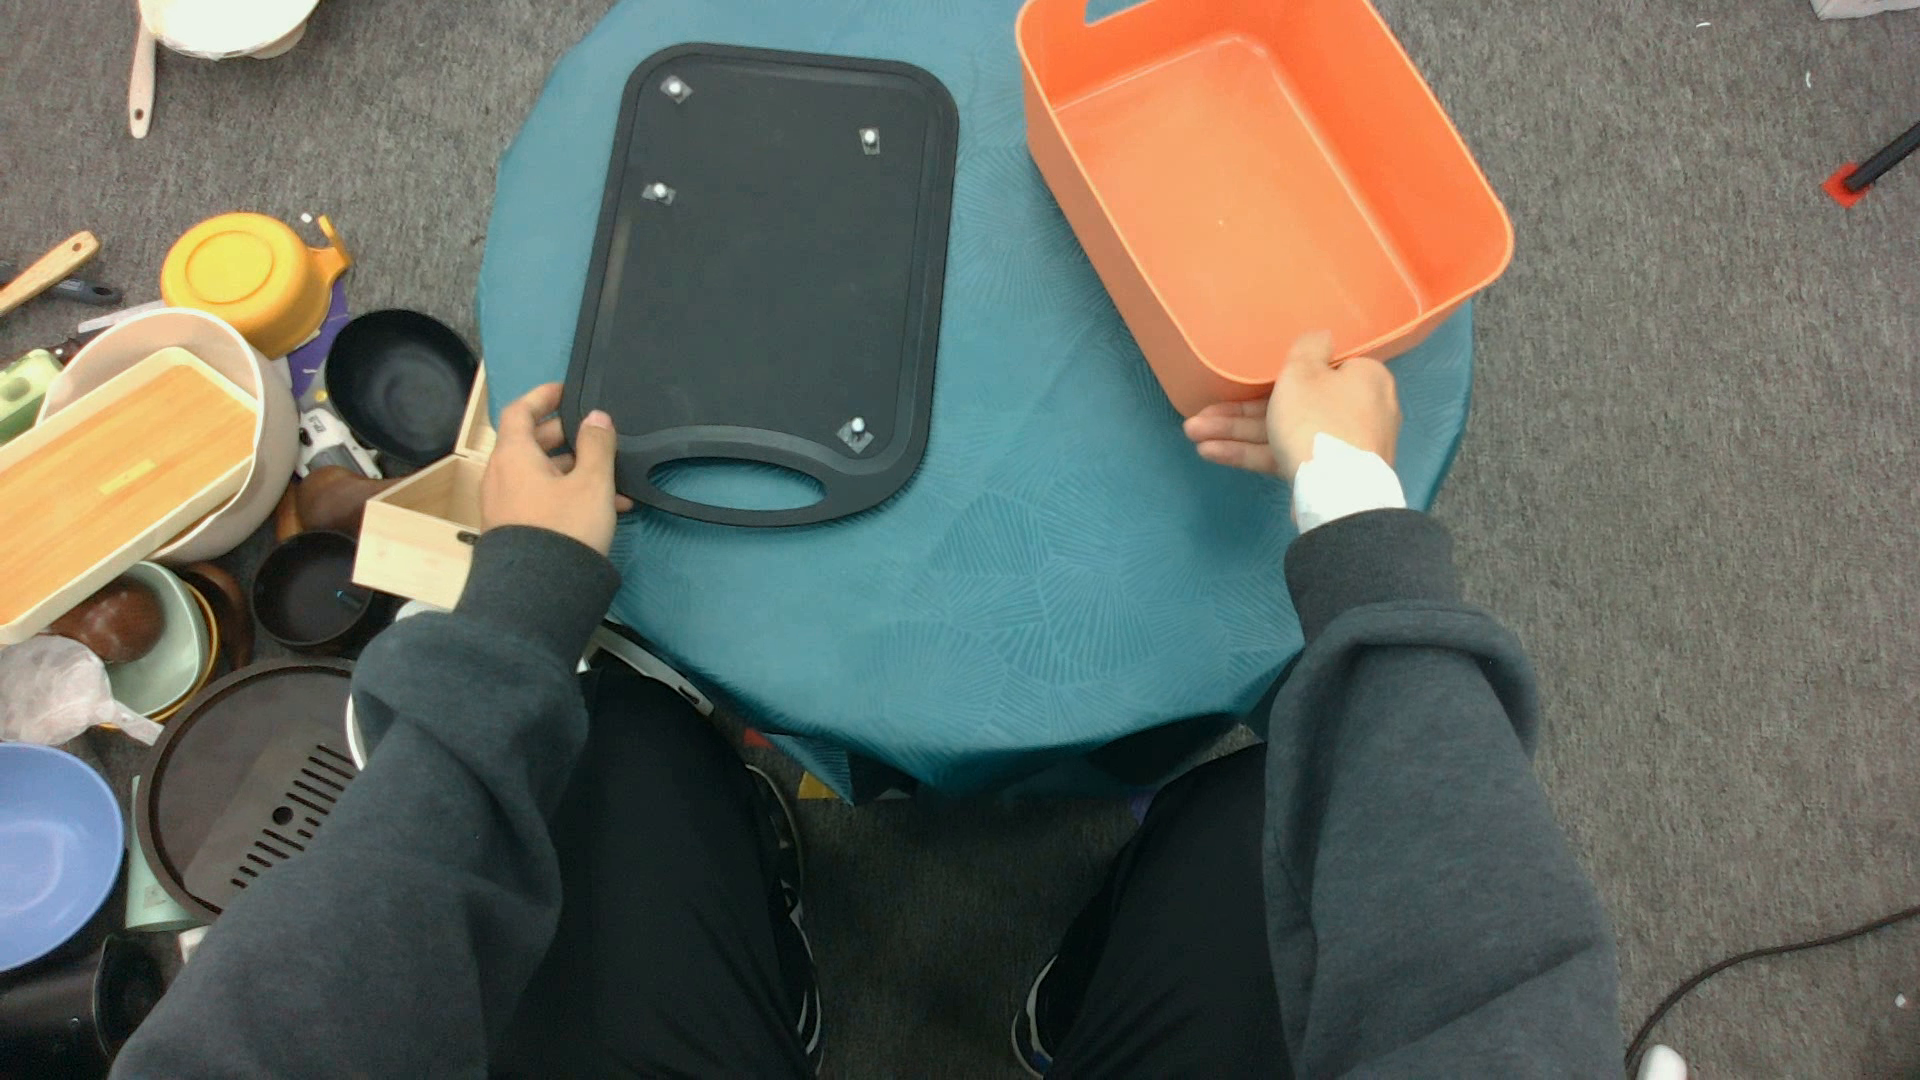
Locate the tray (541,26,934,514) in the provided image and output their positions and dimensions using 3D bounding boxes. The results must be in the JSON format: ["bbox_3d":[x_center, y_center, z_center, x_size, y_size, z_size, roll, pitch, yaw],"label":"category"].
[{"bbox_3d":[-0.127,-0.169,0.819,0.211,0.010,0.326,5,70,-2],"label":"tray"}]

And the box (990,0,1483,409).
[{"bbox_3d":[0.146,-0.219,0.799,0.200,0.102,0.273,-25,74,-10],"label":"box"}]
